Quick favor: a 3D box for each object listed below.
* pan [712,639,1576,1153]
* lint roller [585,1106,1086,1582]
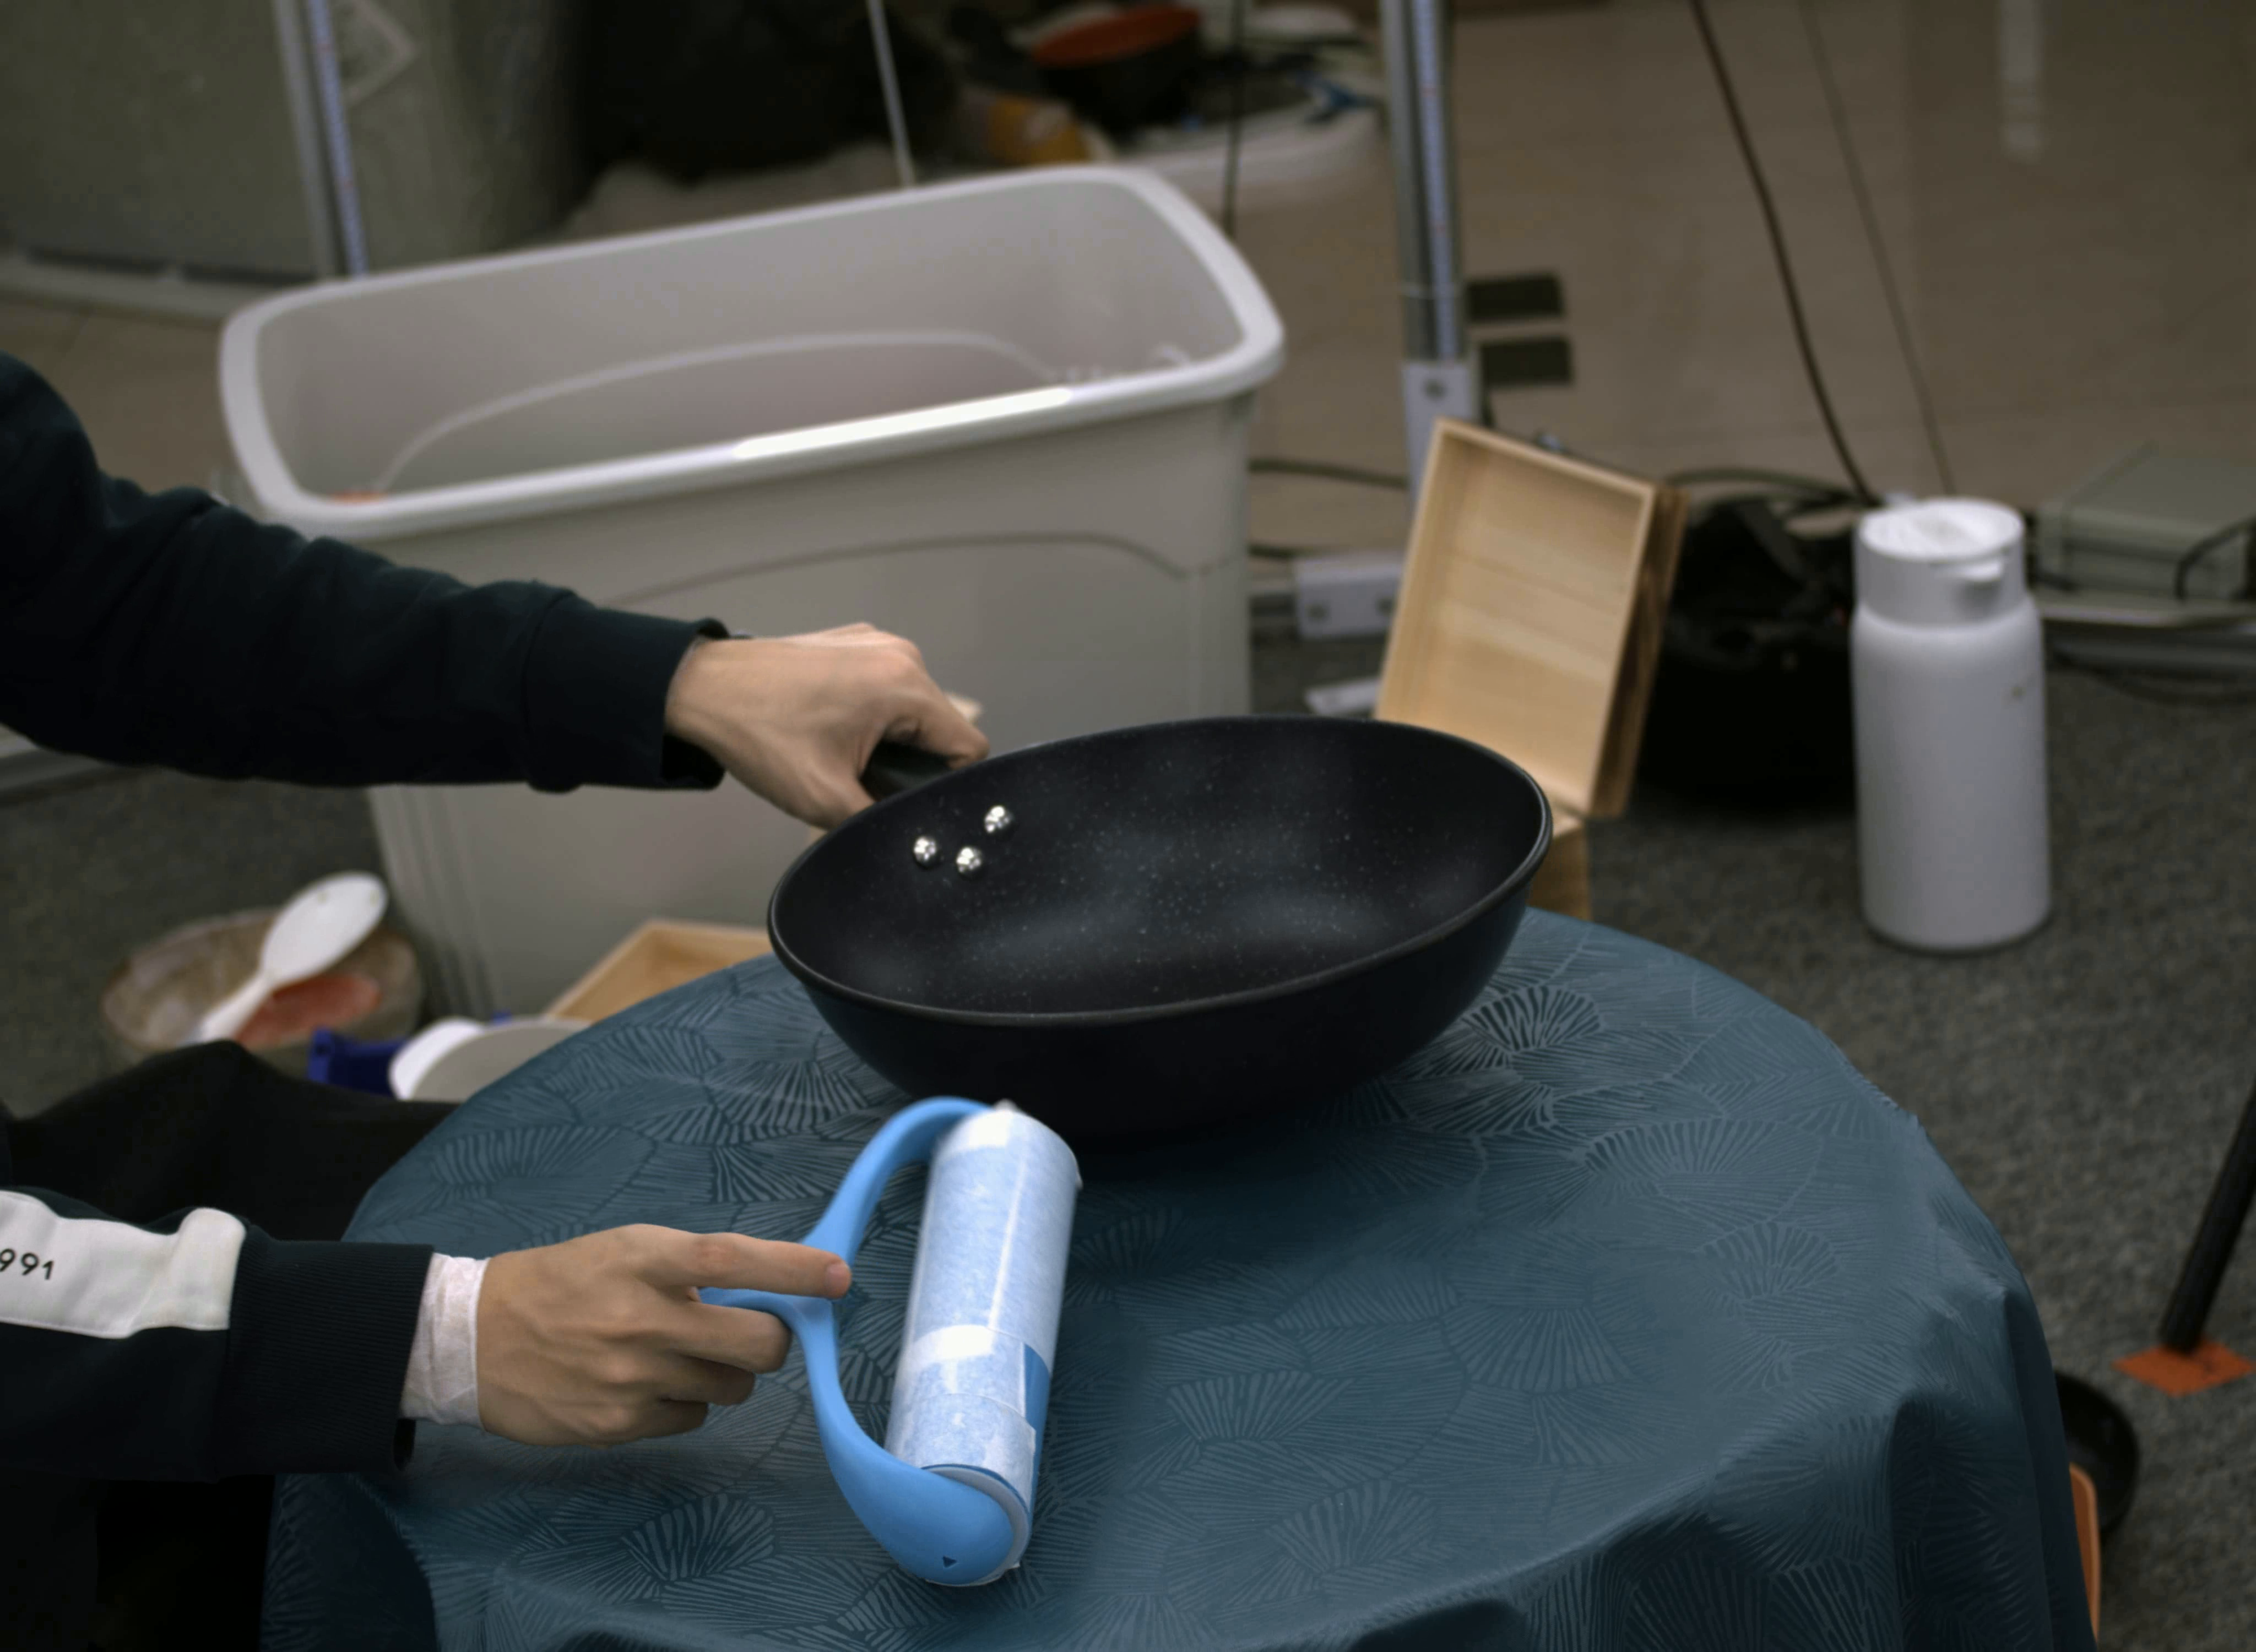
[{"bbox_3d":[-0.027,0.025,2.270,0.308,0.113,0.473,-20,25,-32],"label":"pan"},{"bbox_3d":[-0.105,0.184,1.975,0.180,0.069,0.225,-5,35,4],"label":"lint roller"}]
